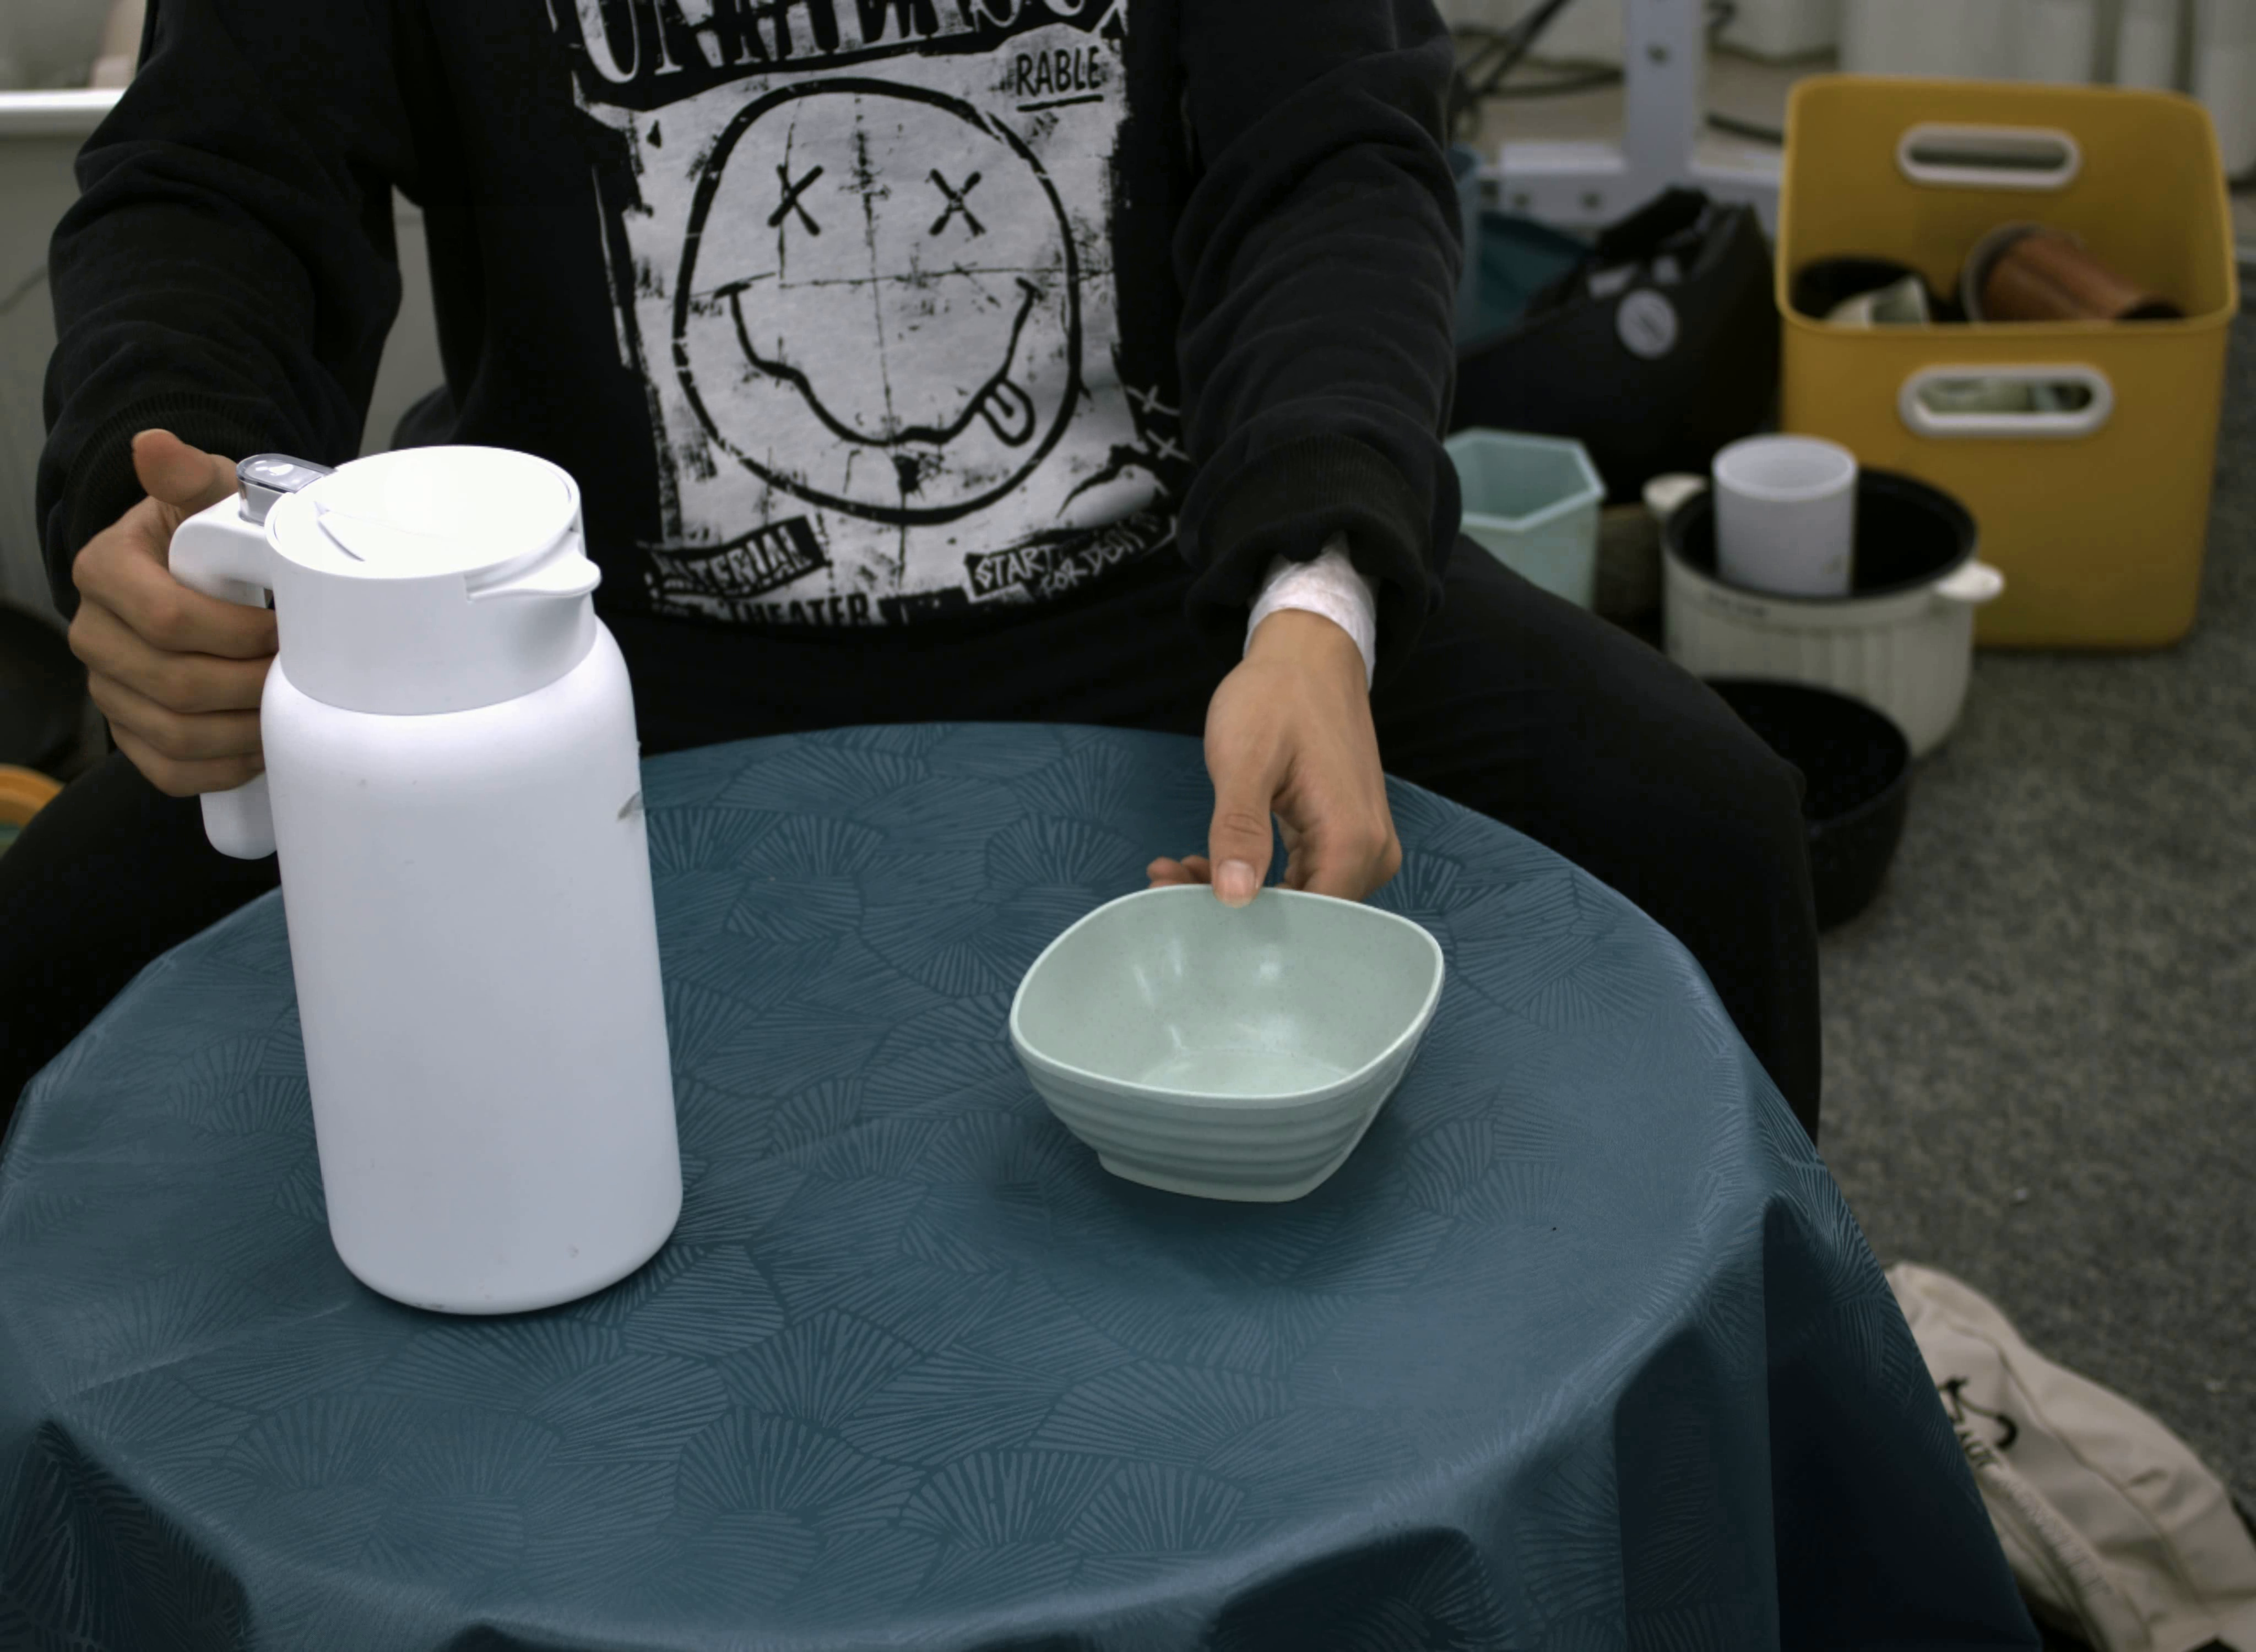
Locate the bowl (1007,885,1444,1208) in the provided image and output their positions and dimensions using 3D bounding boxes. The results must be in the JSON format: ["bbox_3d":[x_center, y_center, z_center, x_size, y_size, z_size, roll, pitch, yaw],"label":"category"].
[{"bbox_3d":[0.034,0.079,1.879,0.151,0.058,0.154,-2,28,1],"label":"bowl"}]

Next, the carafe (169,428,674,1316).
[{"bbox_3d":[-0.227,0.014,1.803,0.172,0.266,0.126,14,33,31],"label":"carafe"}]
